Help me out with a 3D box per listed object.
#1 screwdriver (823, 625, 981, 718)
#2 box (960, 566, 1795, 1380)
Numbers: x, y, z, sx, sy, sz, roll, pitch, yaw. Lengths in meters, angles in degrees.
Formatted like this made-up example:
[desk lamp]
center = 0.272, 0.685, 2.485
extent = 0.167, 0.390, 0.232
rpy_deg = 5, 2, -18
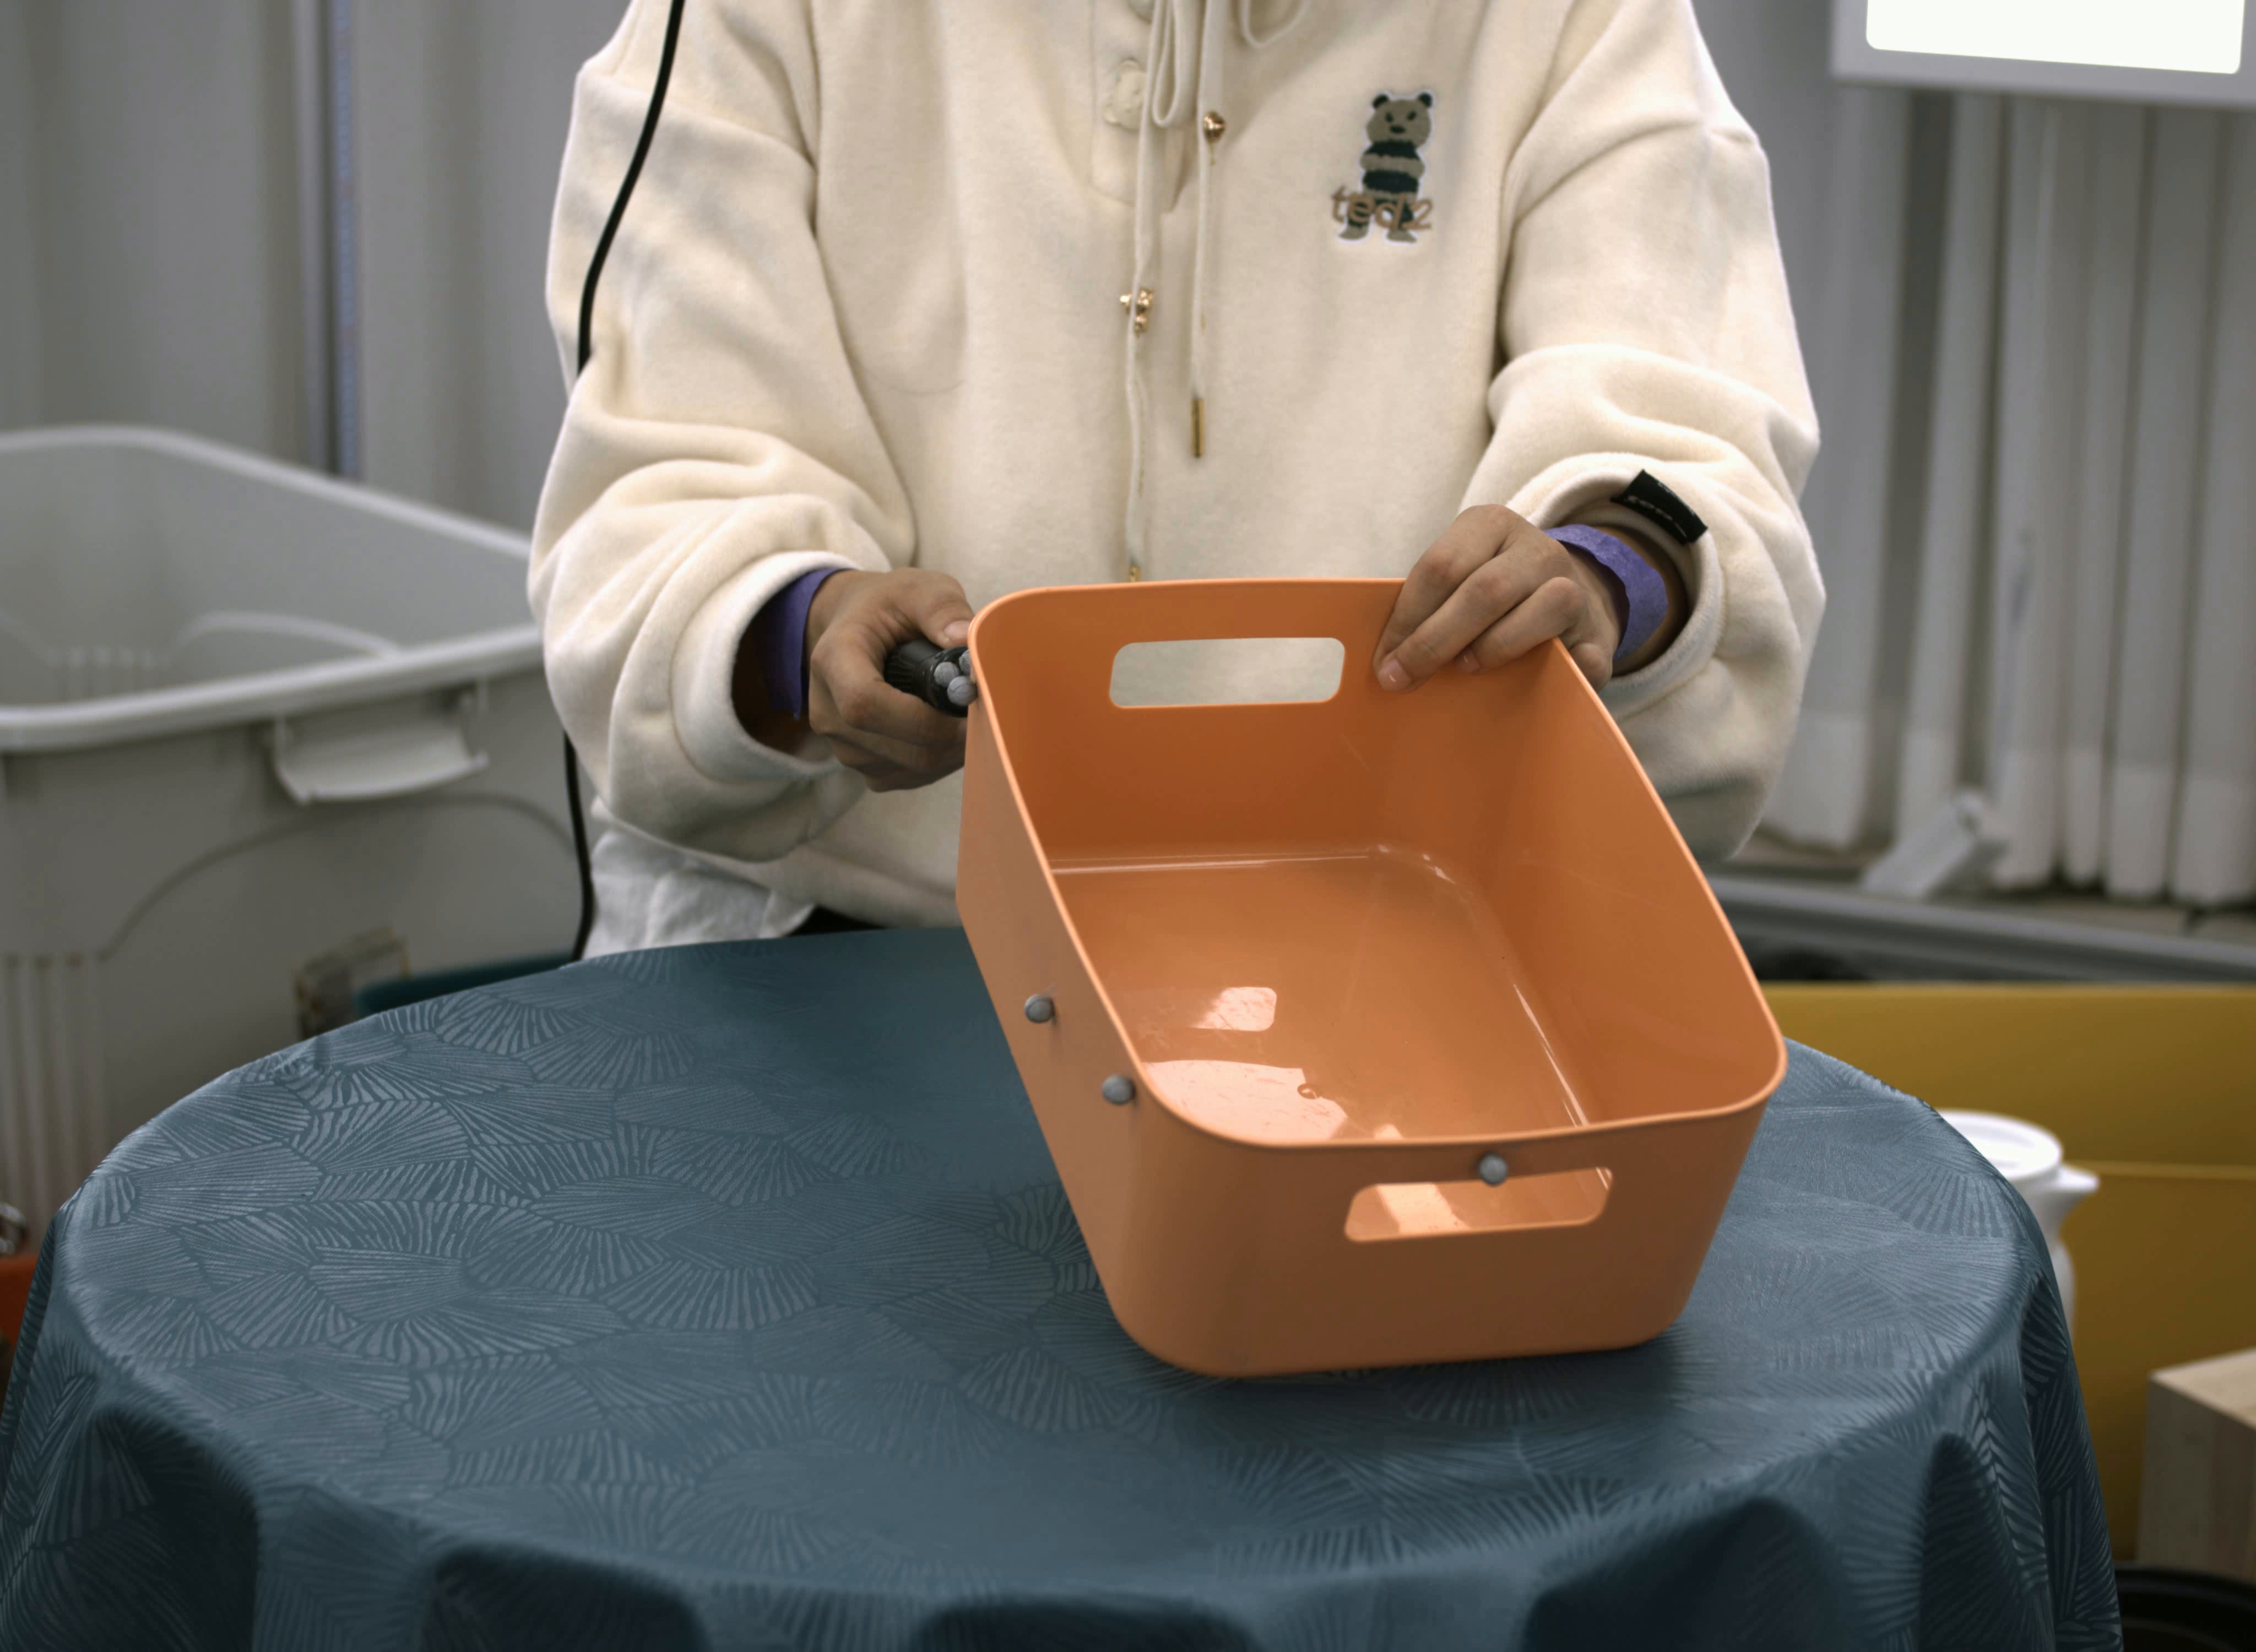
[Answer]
[screwdriver]
center = -0.065, -0.055, 1.709
extent = 0.031, 0.031, 0.197
rpy_deg = -5, -1, -18
[box]
center = 0.062, 0.041, 1.537
extent = 0.200, 0.103, 0.270
rpy_deg = -4, 38, -17
